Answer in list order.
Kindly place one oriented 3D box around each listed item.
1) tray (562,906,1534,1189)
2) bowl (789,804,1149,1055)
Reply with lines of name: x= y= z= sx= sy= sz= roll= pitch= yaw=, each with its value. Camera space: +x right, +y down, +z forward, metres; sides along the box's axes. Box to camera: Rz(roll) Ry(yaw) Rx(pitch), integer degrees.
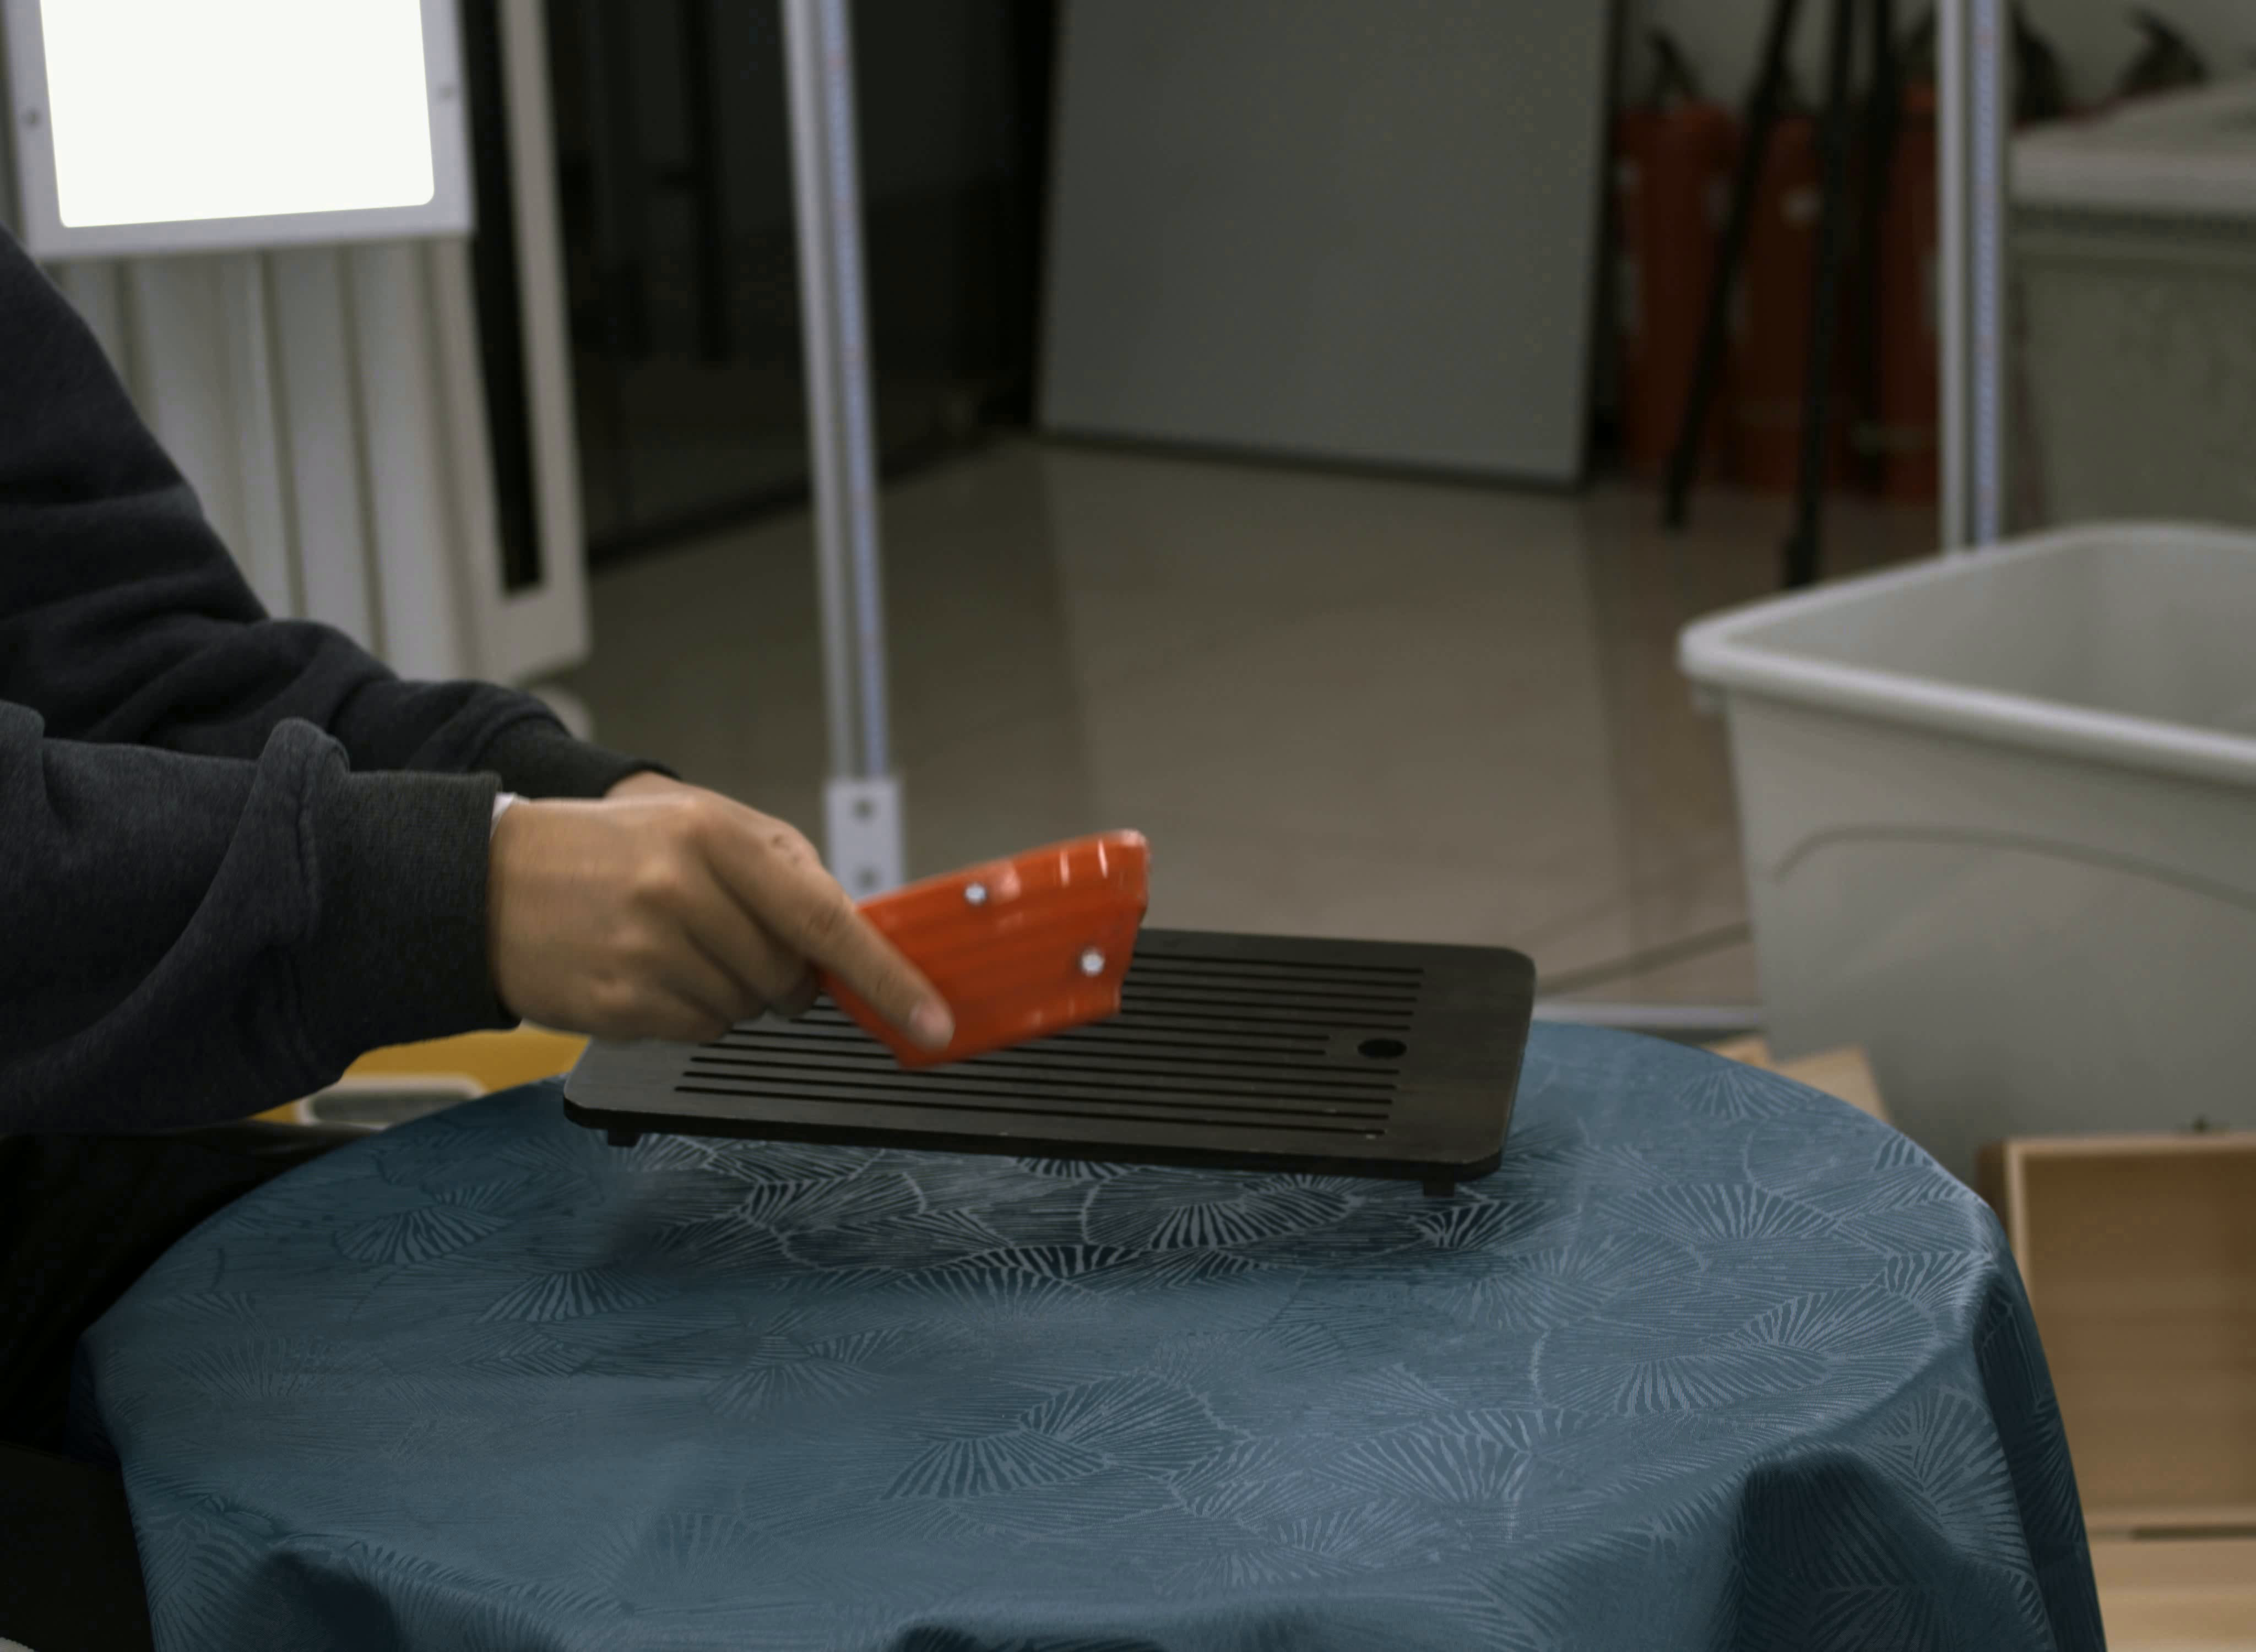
tray: x=-0.022 y=0.072 z=1.771 sx=0.303 sy=0.019 sz=0.170 roll=2 pitch=22 yaw=9
bowl: x=-0.041 y=0.034 z=1.608 sx=0.117 sy=0.052 sz=0.119 roll=-16 pitch=-6 yaw=-3
